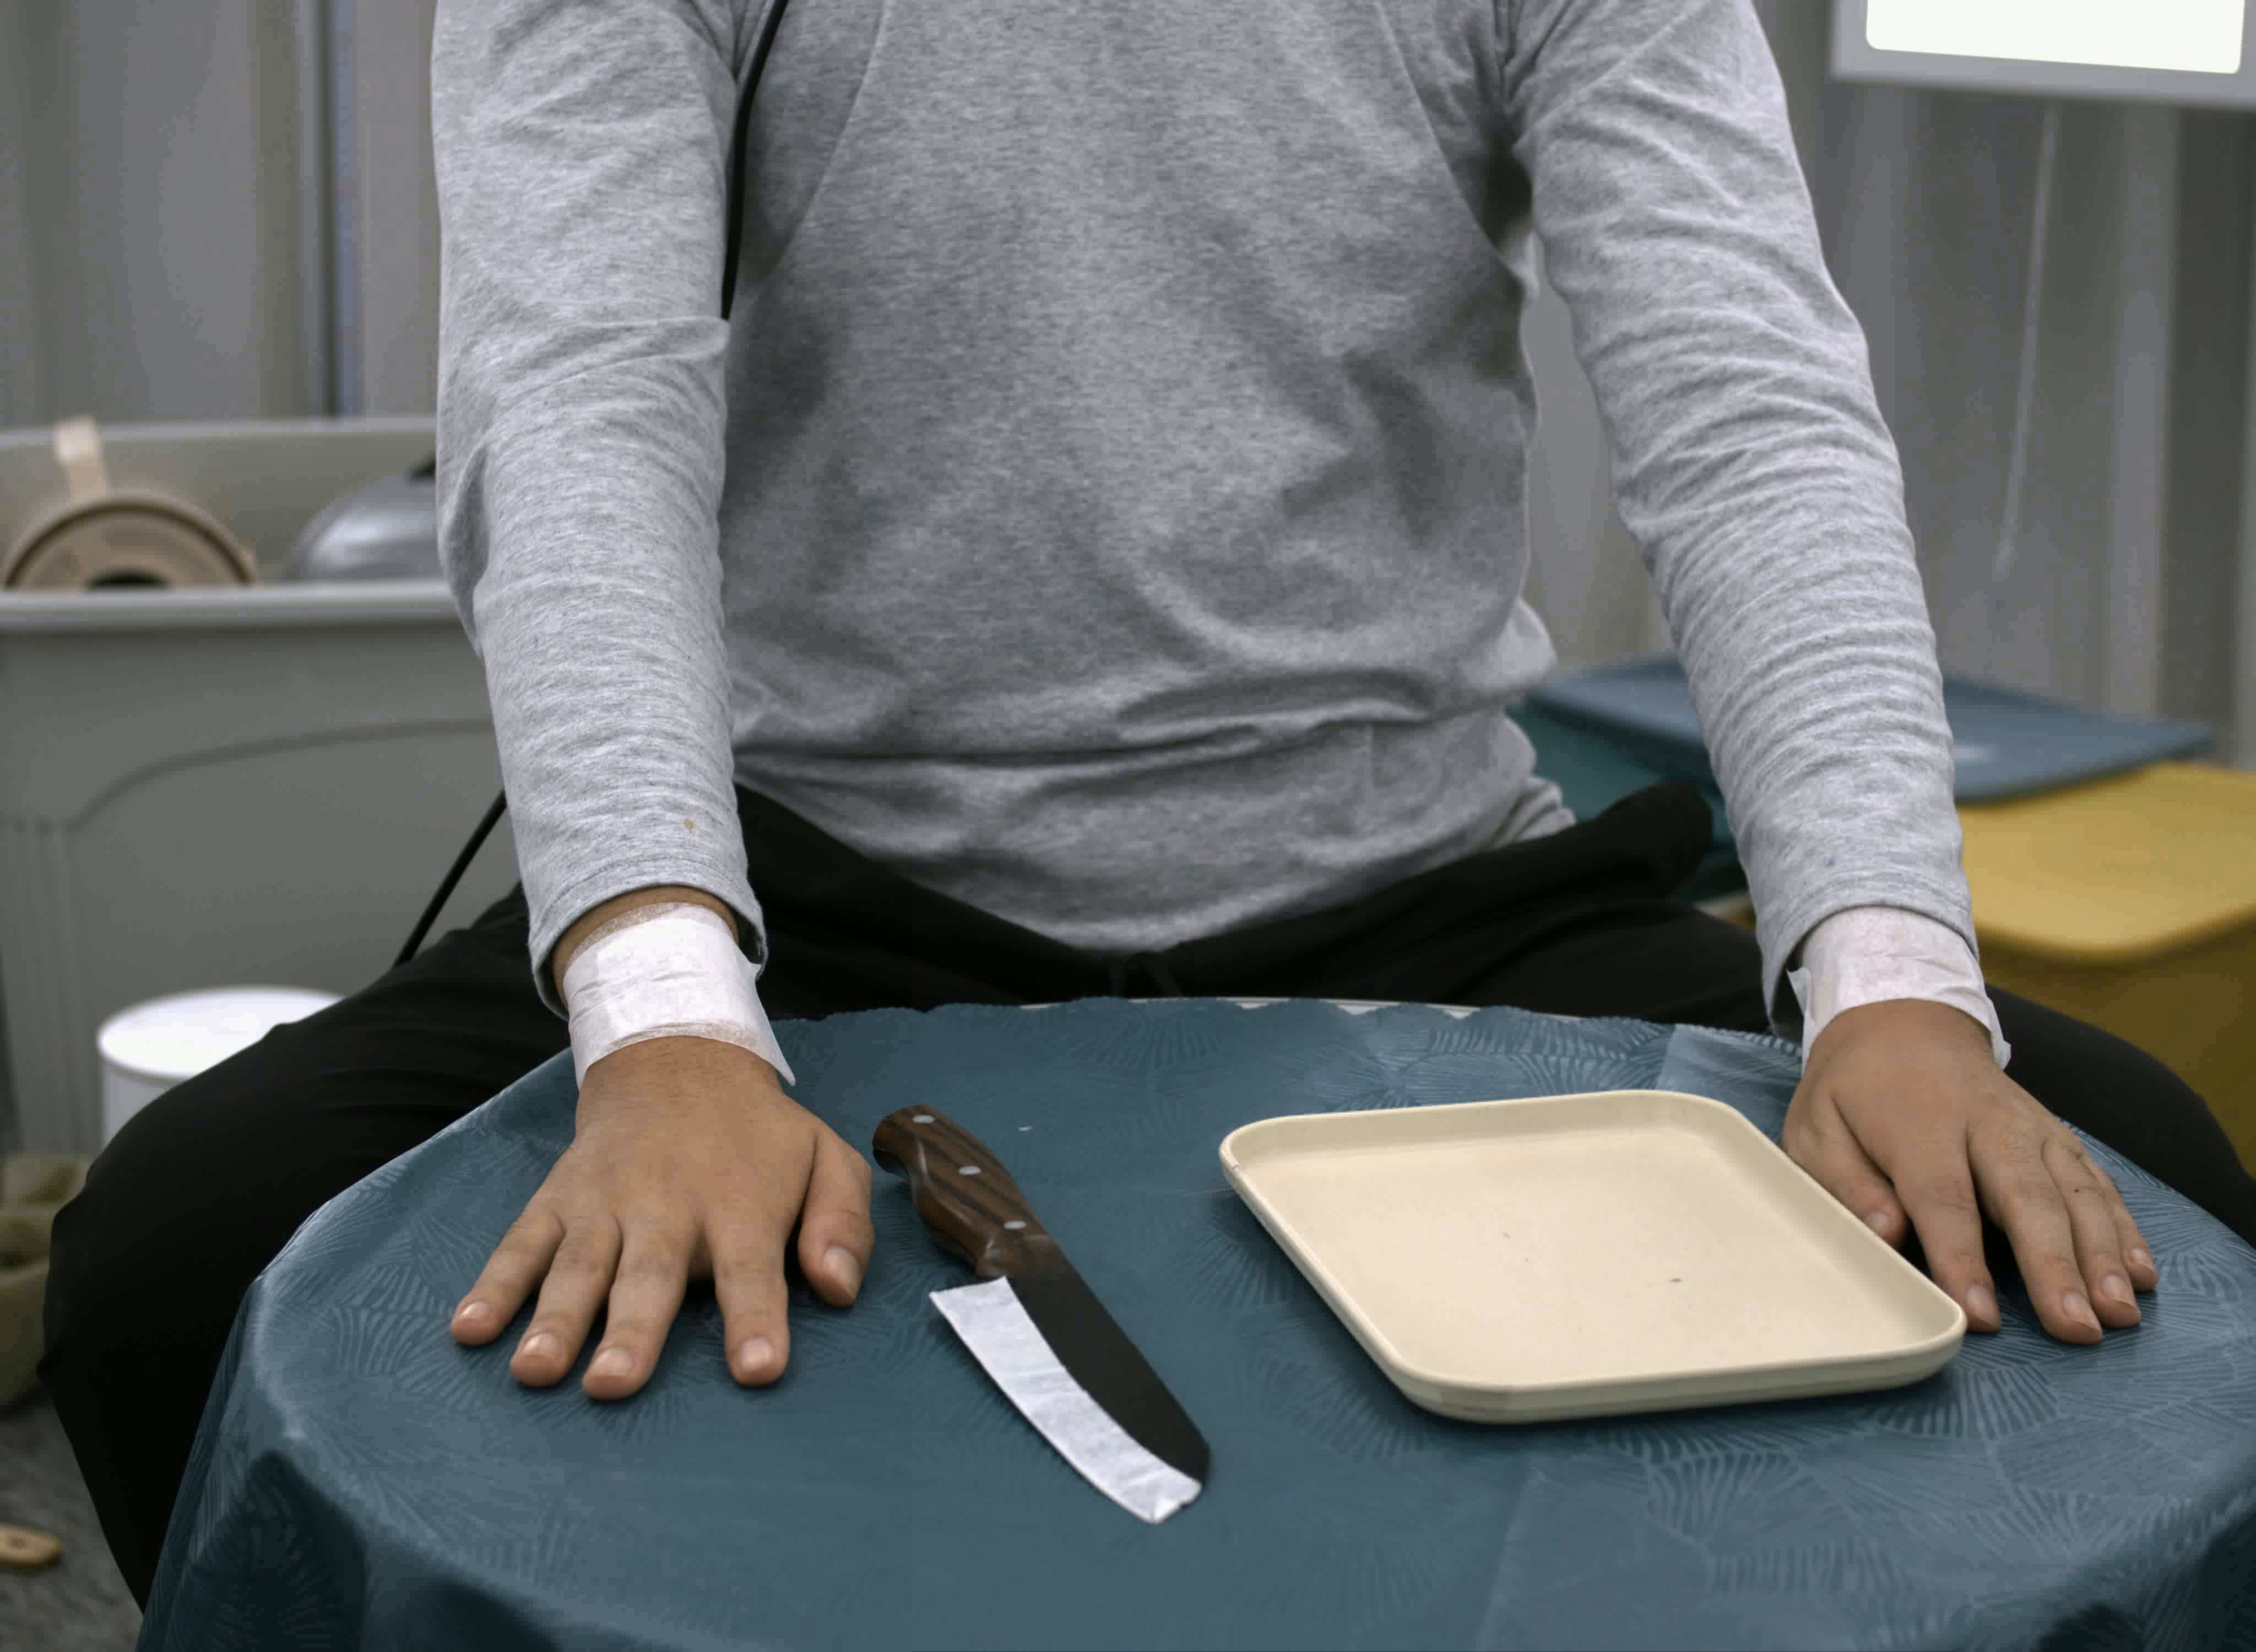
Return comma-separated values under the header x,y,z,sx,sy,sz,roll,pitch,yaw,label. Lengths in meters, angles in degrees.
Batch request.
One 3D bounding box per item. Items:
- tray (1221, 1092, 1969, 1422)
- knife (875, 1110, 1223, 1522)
x,y,z,sx,sy,sz,roll,pitch,yaw,label
0.132,0.125,1.551,0.171,0.017,0.237,-3,15,-14,tray
-0.028,0.138,1.502,0.050,0.020,0.286,-9,20,-14,knife
